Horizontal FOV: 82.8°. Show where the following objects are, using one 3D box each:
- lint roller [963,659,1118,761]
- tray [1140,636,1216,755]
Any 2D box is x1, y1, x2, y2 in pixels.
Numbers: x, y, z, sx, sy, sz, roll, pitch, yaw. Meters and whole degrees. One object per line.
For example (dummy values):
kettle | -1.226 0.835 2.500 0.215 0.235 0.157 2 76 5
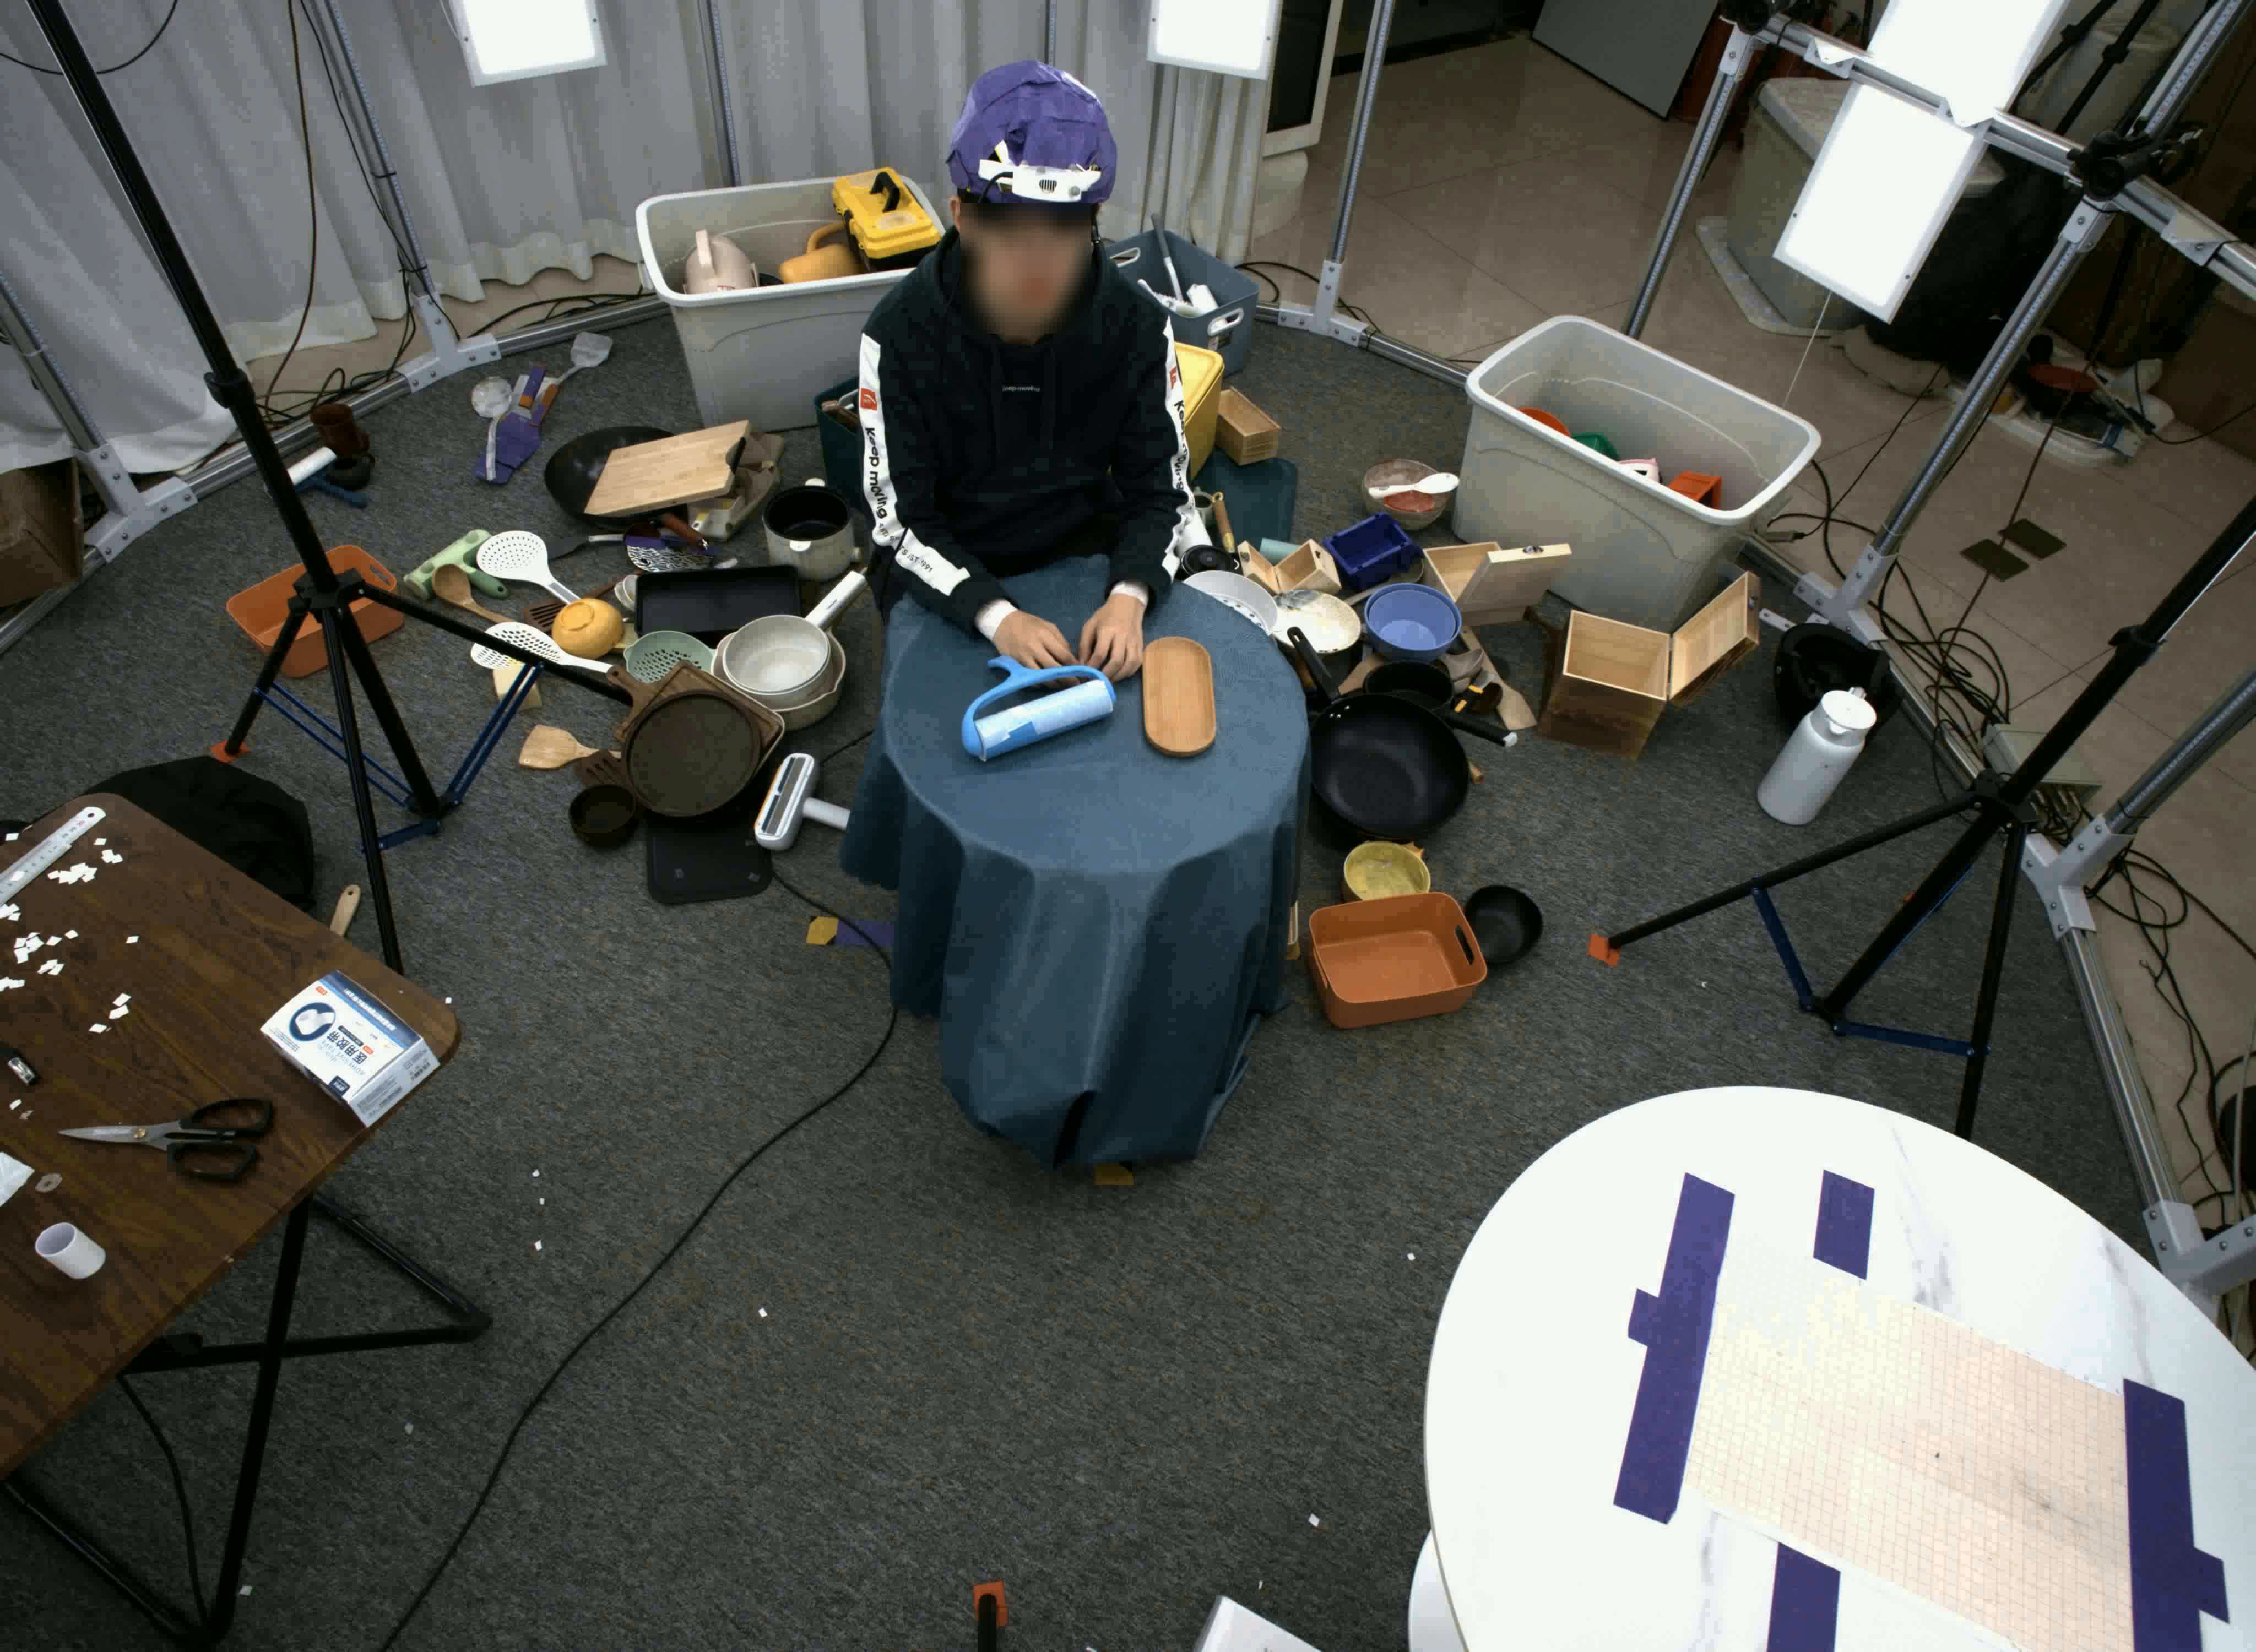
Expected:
lint roller | -0.148 -0.187 1.784 0.230 0.066 0.184 -24 56 -21
tray | 0.070 -0.189 1.826 0.101 0.020 0.237 1 48 -4
